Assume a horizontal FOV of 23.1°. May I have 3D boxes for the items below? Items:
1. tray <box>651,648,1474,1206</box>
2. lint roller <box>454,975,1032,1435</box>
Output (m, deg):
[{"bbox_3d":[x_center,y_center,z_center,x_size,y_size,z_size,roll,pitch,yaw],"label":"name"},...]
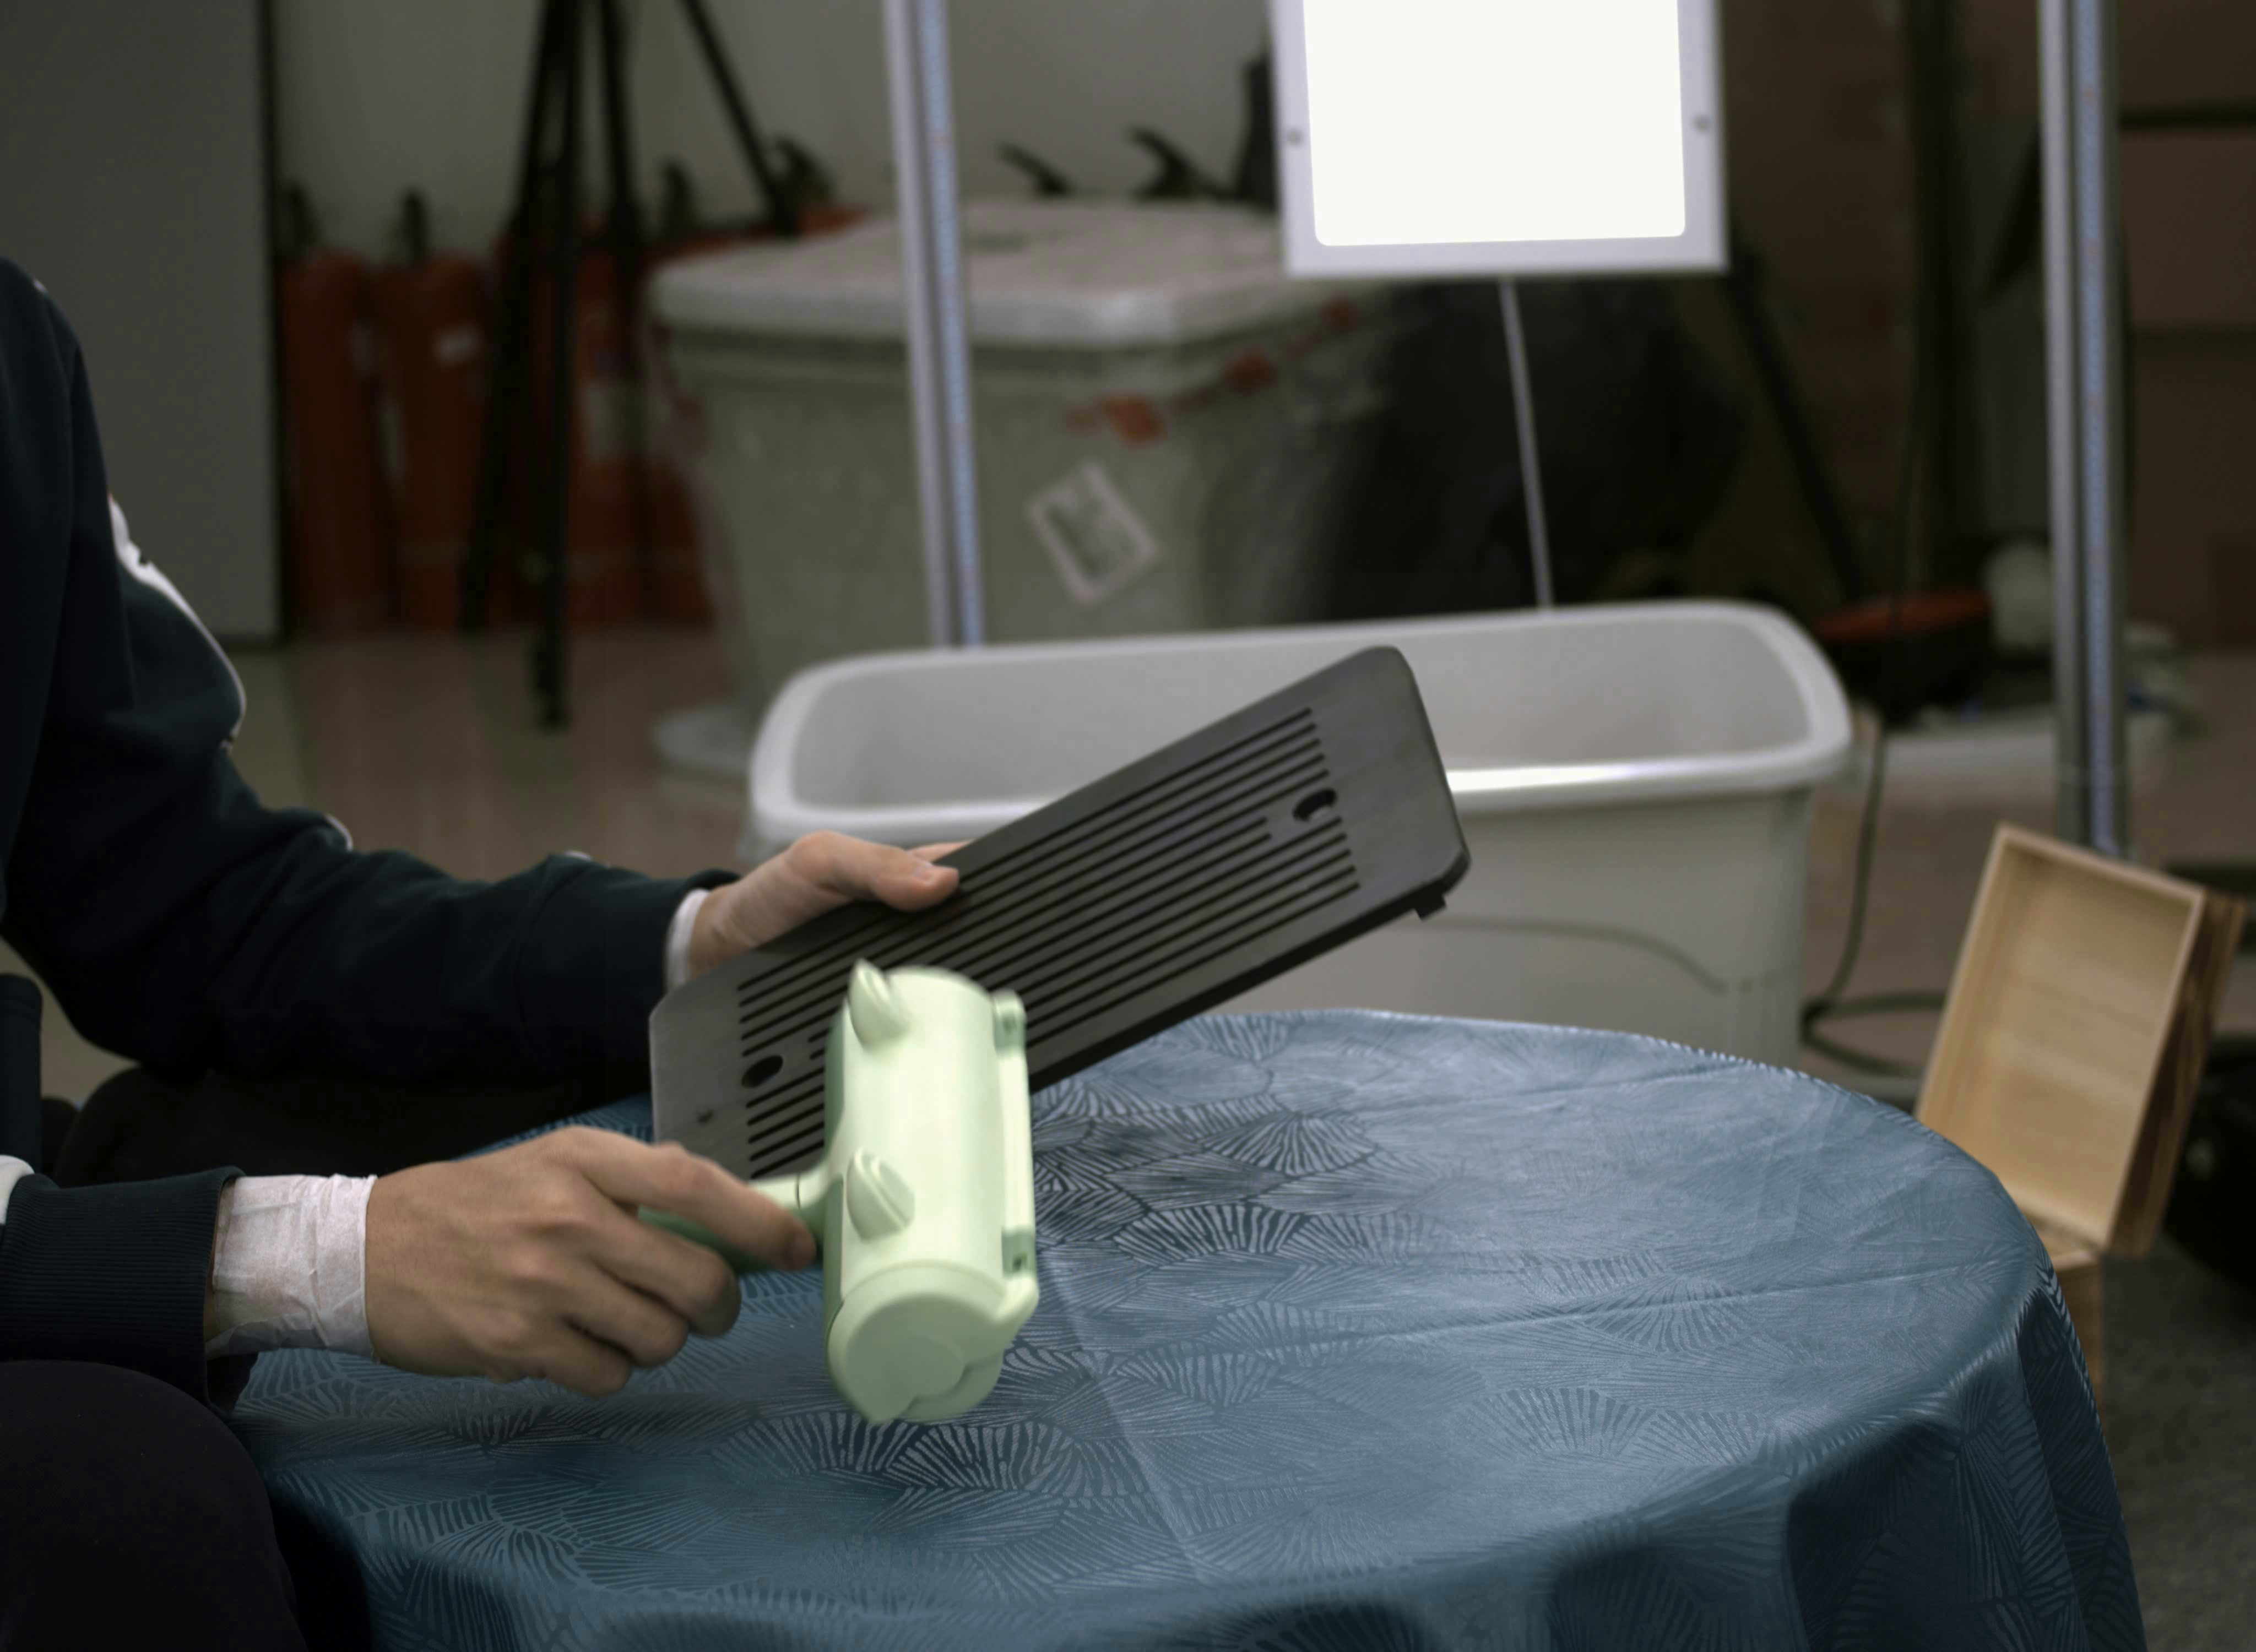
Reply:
[{"bbox_3d":[-0.027,0.044,1.908,0.308,0.018,0.170,-26,28,10],"label":"tray"},{"bbox_3d":[-0.121,0.114,1.695,0.183,0.082,0.198,-6,26,2],"label":"lint roller"}]
